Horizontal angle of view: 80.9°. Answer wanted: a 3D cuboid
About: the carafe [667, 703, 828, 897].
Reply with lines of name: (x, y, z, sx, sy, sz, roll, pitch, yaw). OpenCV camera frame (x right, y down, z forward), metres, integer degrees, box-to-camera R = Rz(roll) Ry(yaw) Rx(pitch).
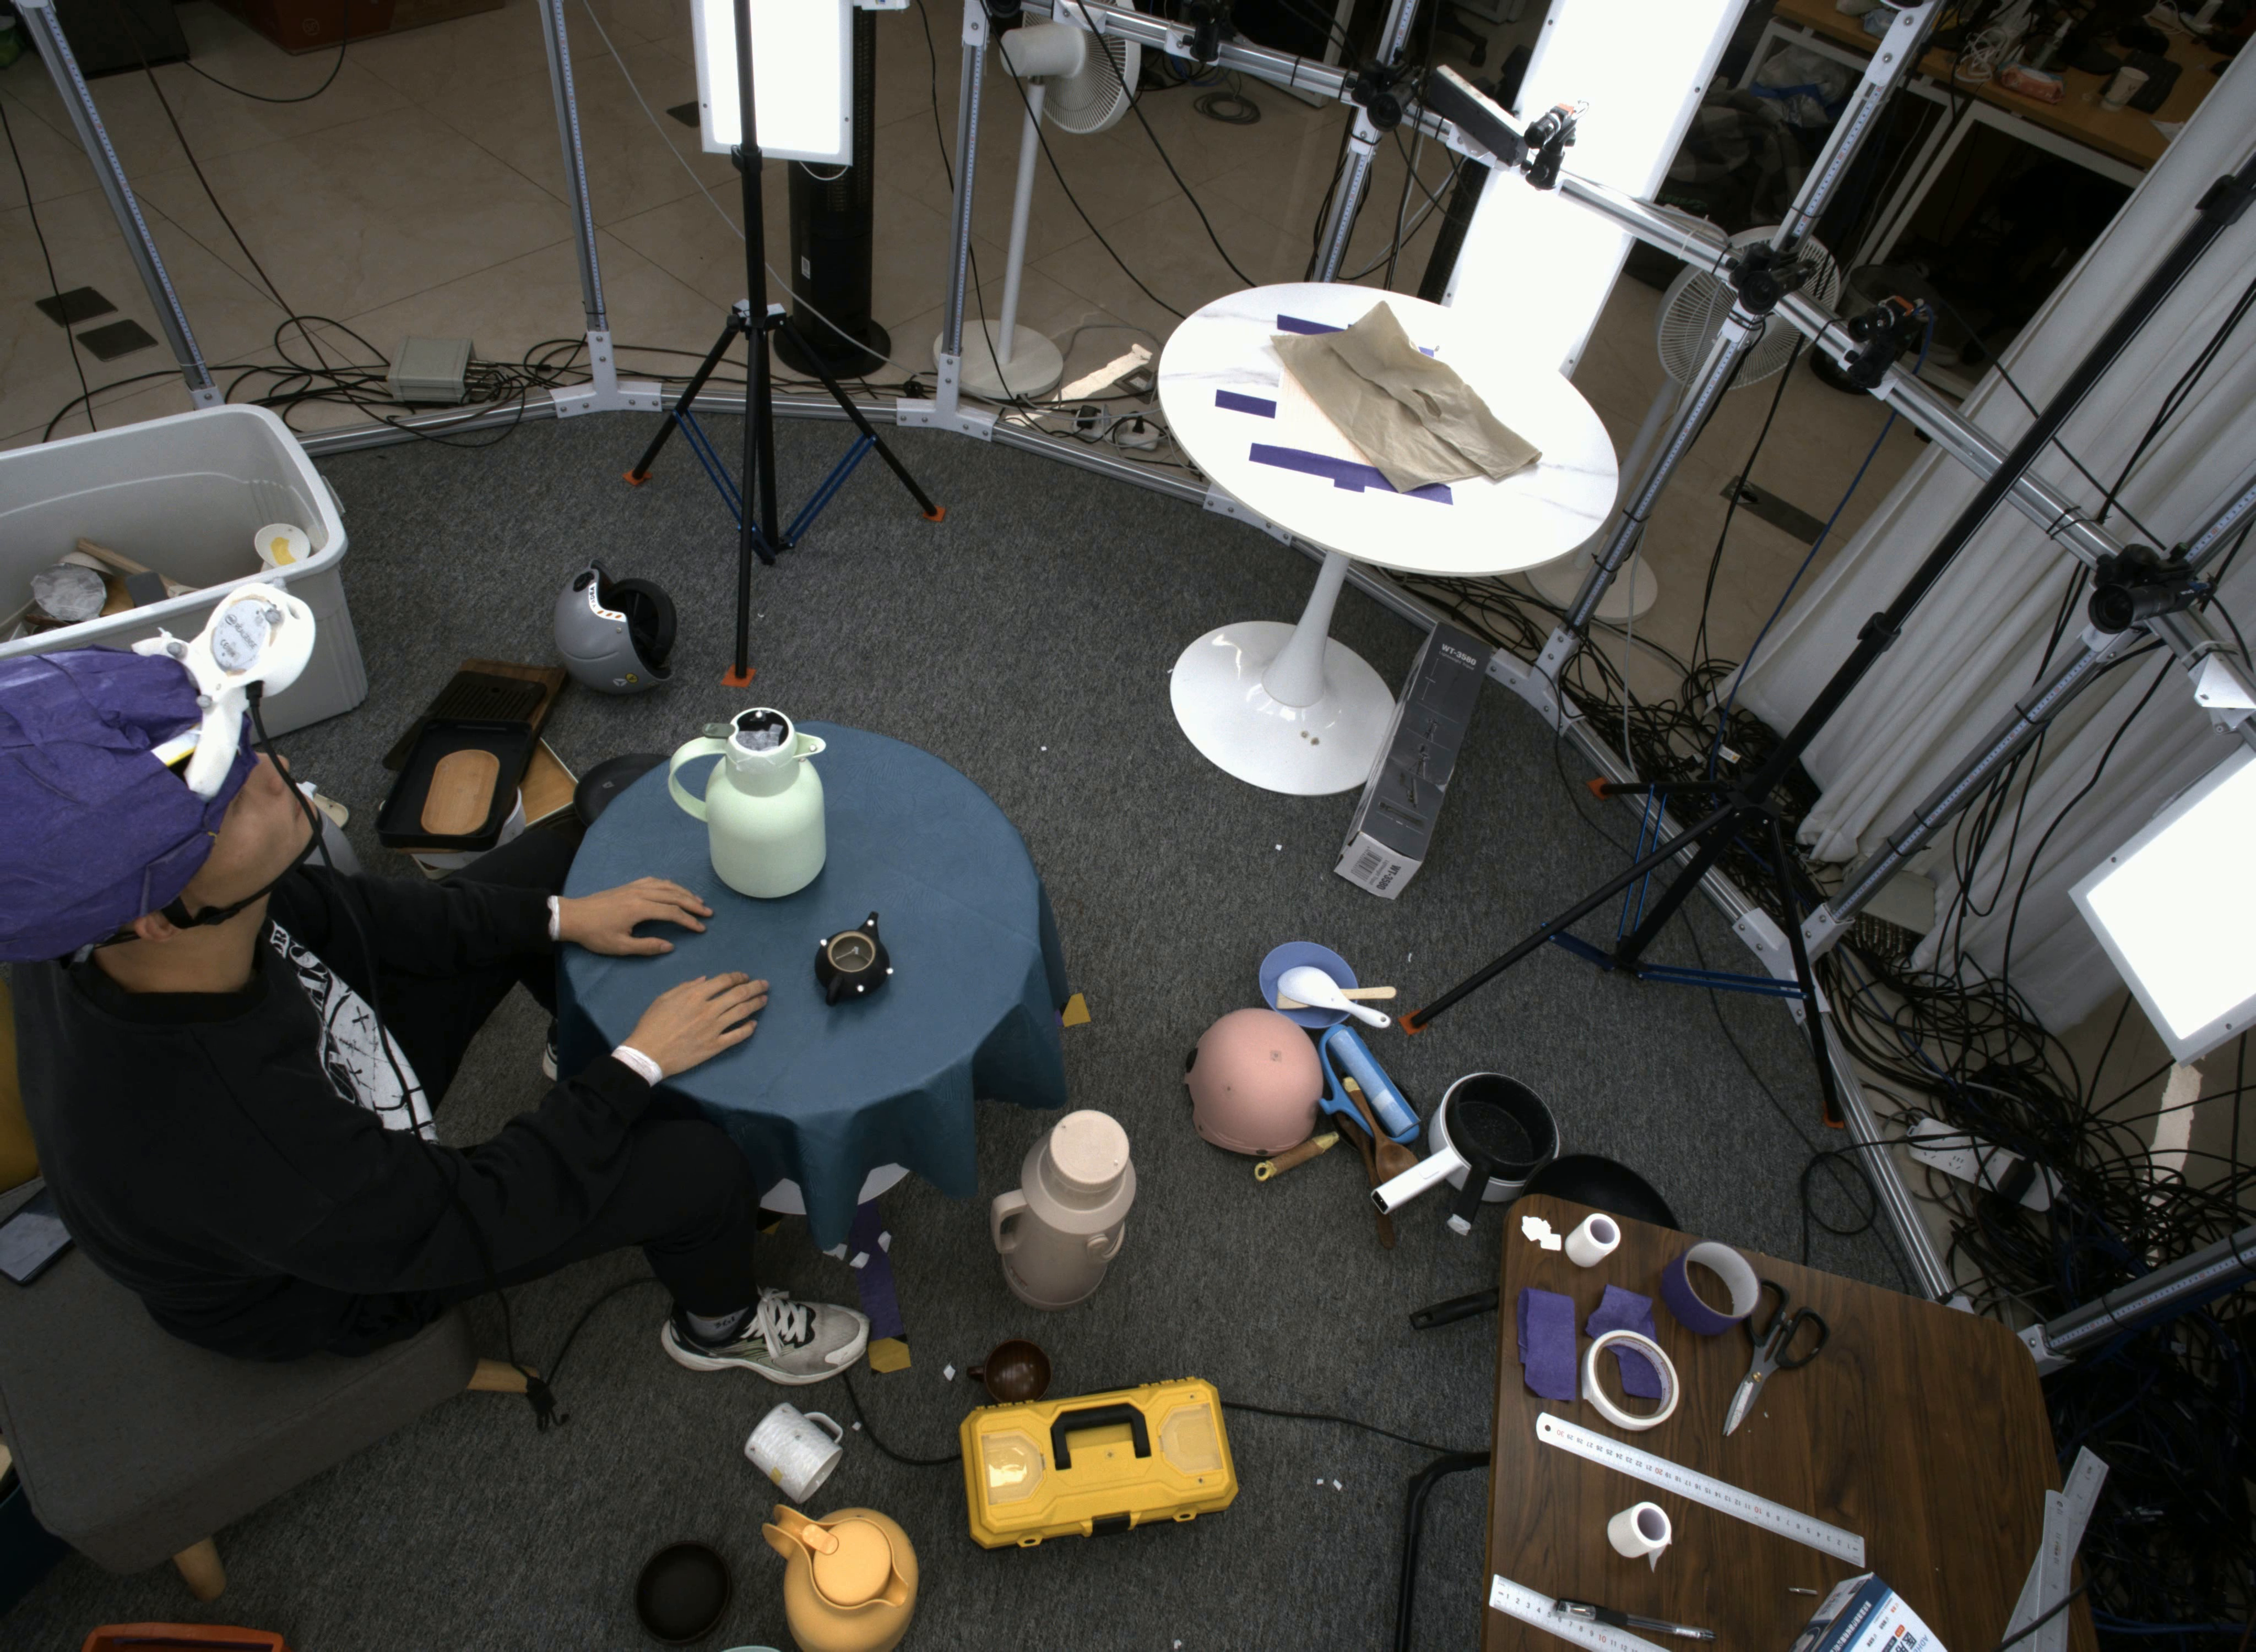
carafe: (-0.459, -0.038, 1.579, 0.186, 0.263, 0.141, -4, 55, -11)

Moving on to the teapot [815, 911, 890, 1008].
teapot: (-0.337, 0.166, 1.586, 0.090, 0.054, 0.132, 19, 51, 4)
